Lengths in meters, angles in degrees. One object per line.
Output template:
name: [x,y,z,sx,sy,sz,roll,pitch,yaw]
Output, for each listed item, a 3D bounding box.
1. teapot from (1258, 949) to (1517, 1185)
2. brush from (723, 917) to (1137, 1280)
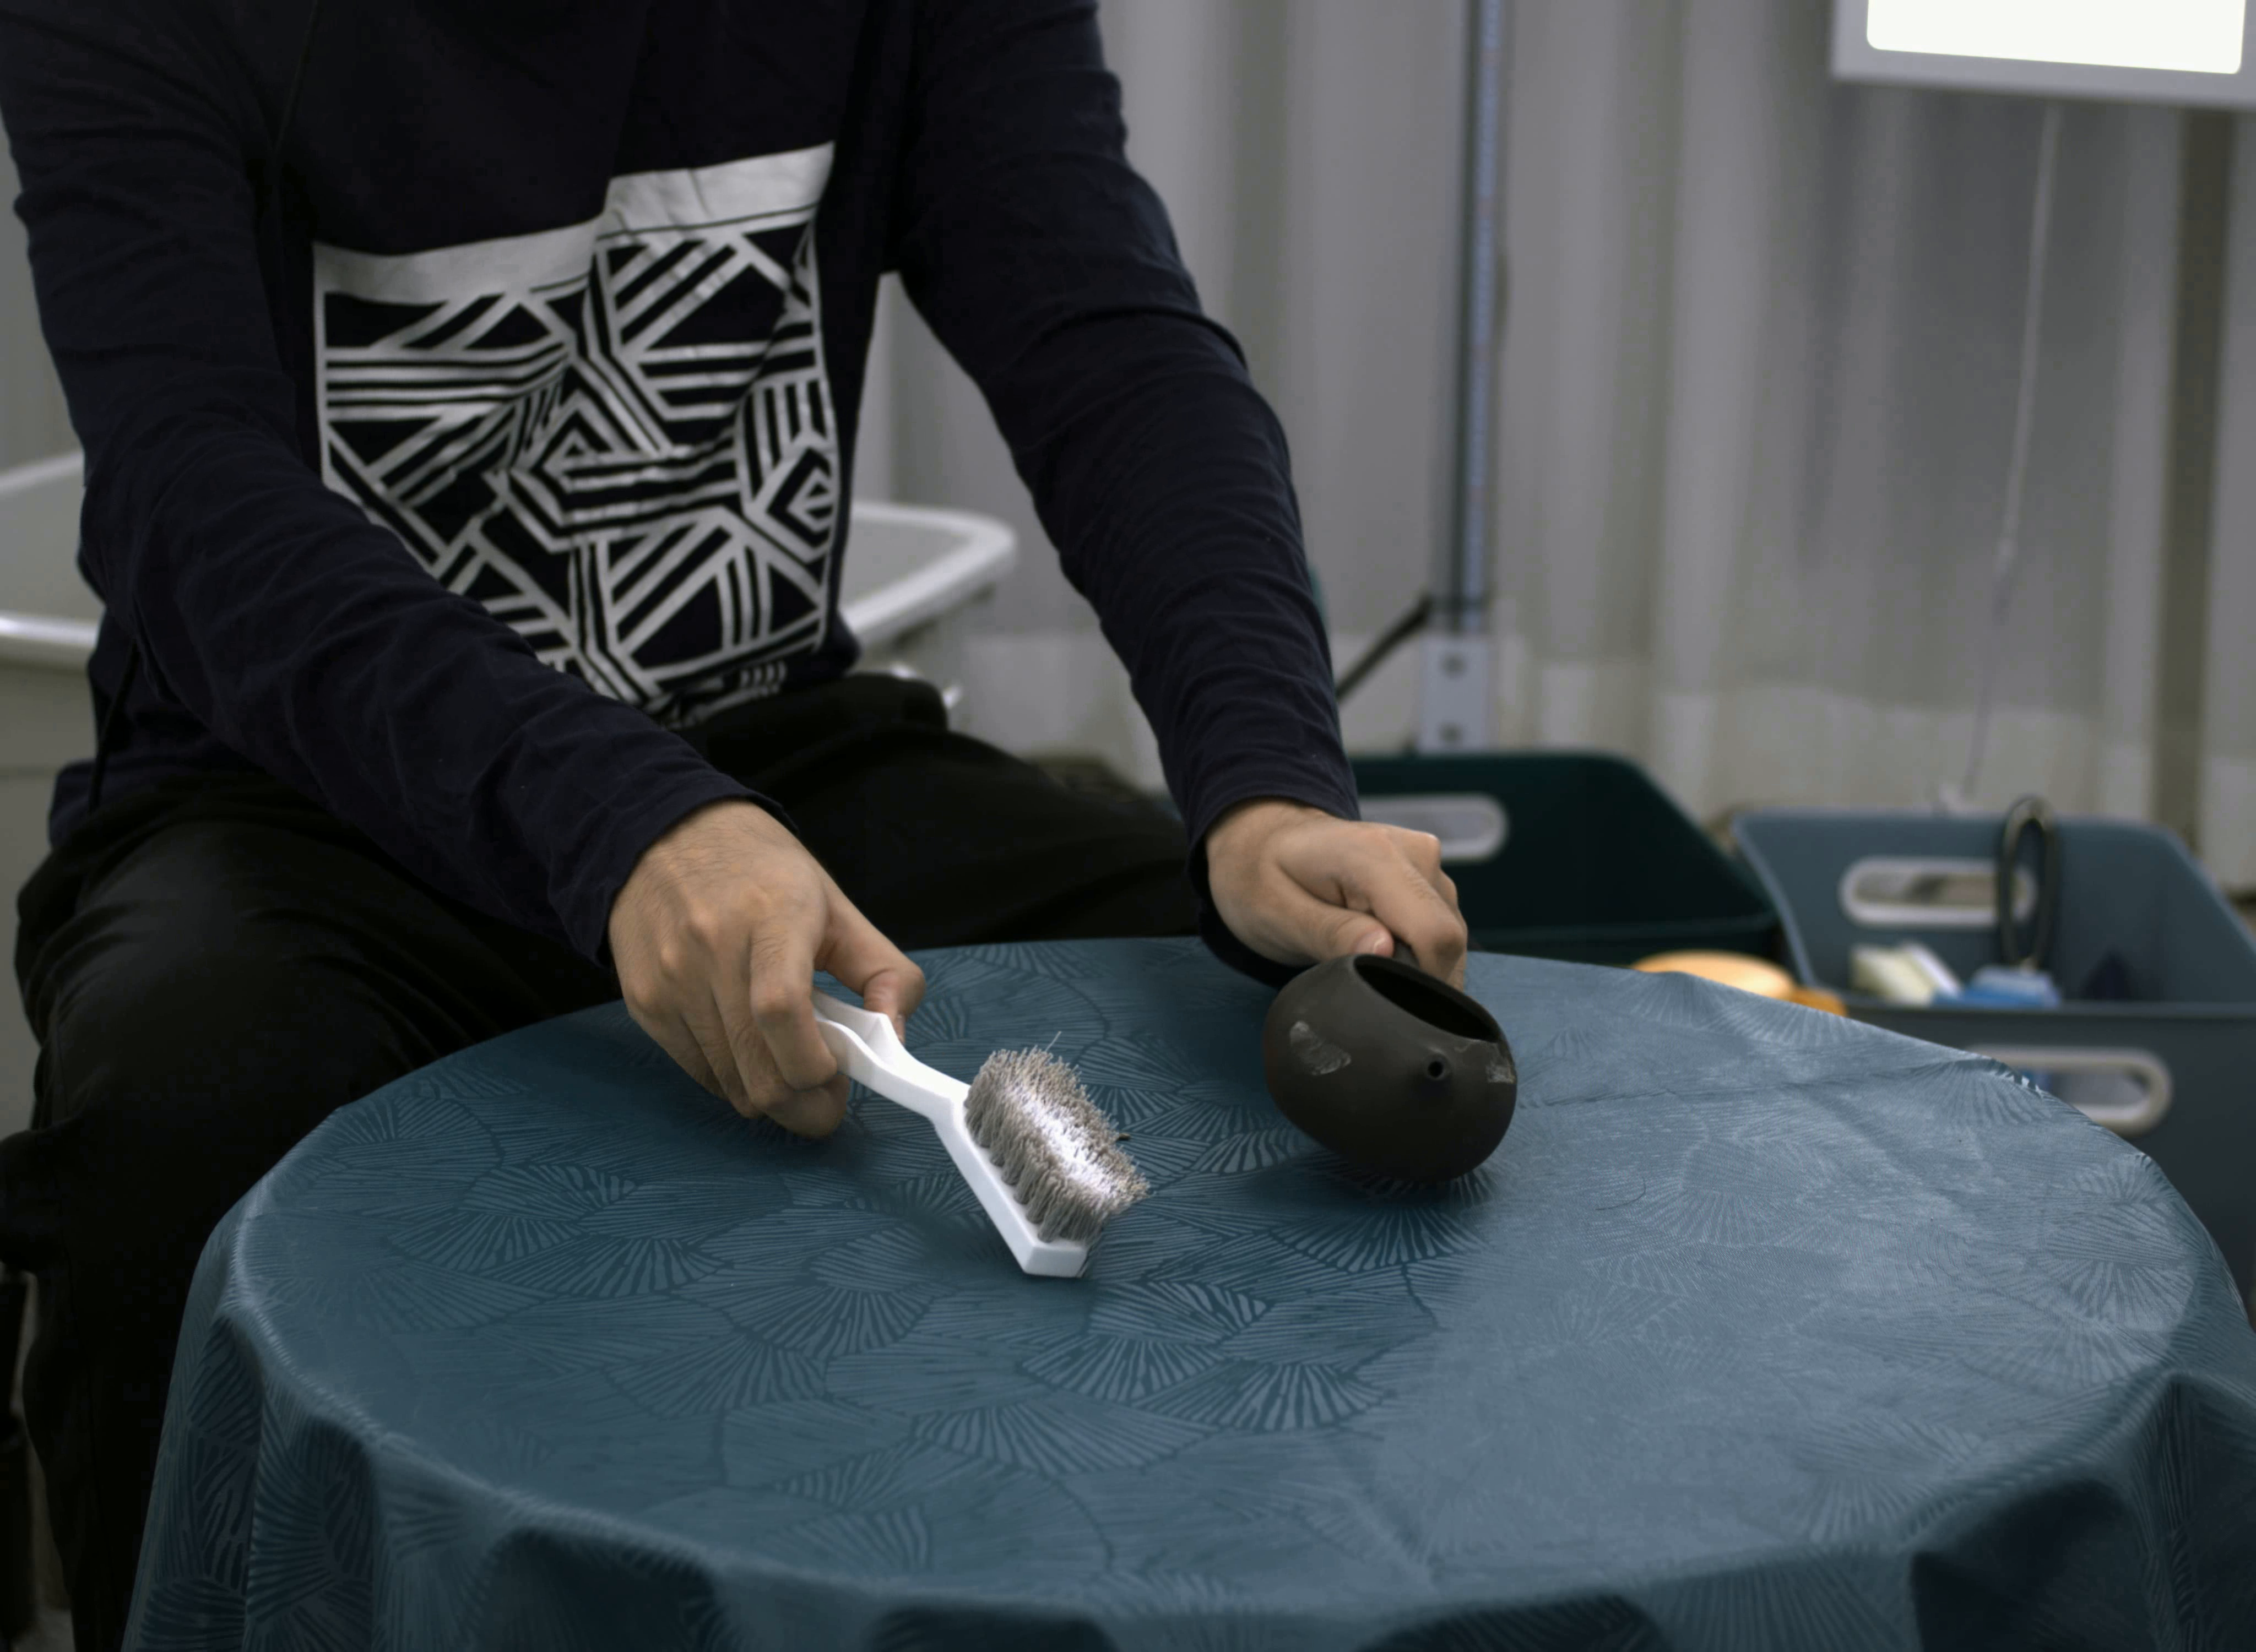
teapot: [0.081,0.071,1.643,0.083,0.053,0.113,21,18,-11]
brush: [-0.067,0.066,1.624,0.034,0.051,0.240,-9,30,-27]
